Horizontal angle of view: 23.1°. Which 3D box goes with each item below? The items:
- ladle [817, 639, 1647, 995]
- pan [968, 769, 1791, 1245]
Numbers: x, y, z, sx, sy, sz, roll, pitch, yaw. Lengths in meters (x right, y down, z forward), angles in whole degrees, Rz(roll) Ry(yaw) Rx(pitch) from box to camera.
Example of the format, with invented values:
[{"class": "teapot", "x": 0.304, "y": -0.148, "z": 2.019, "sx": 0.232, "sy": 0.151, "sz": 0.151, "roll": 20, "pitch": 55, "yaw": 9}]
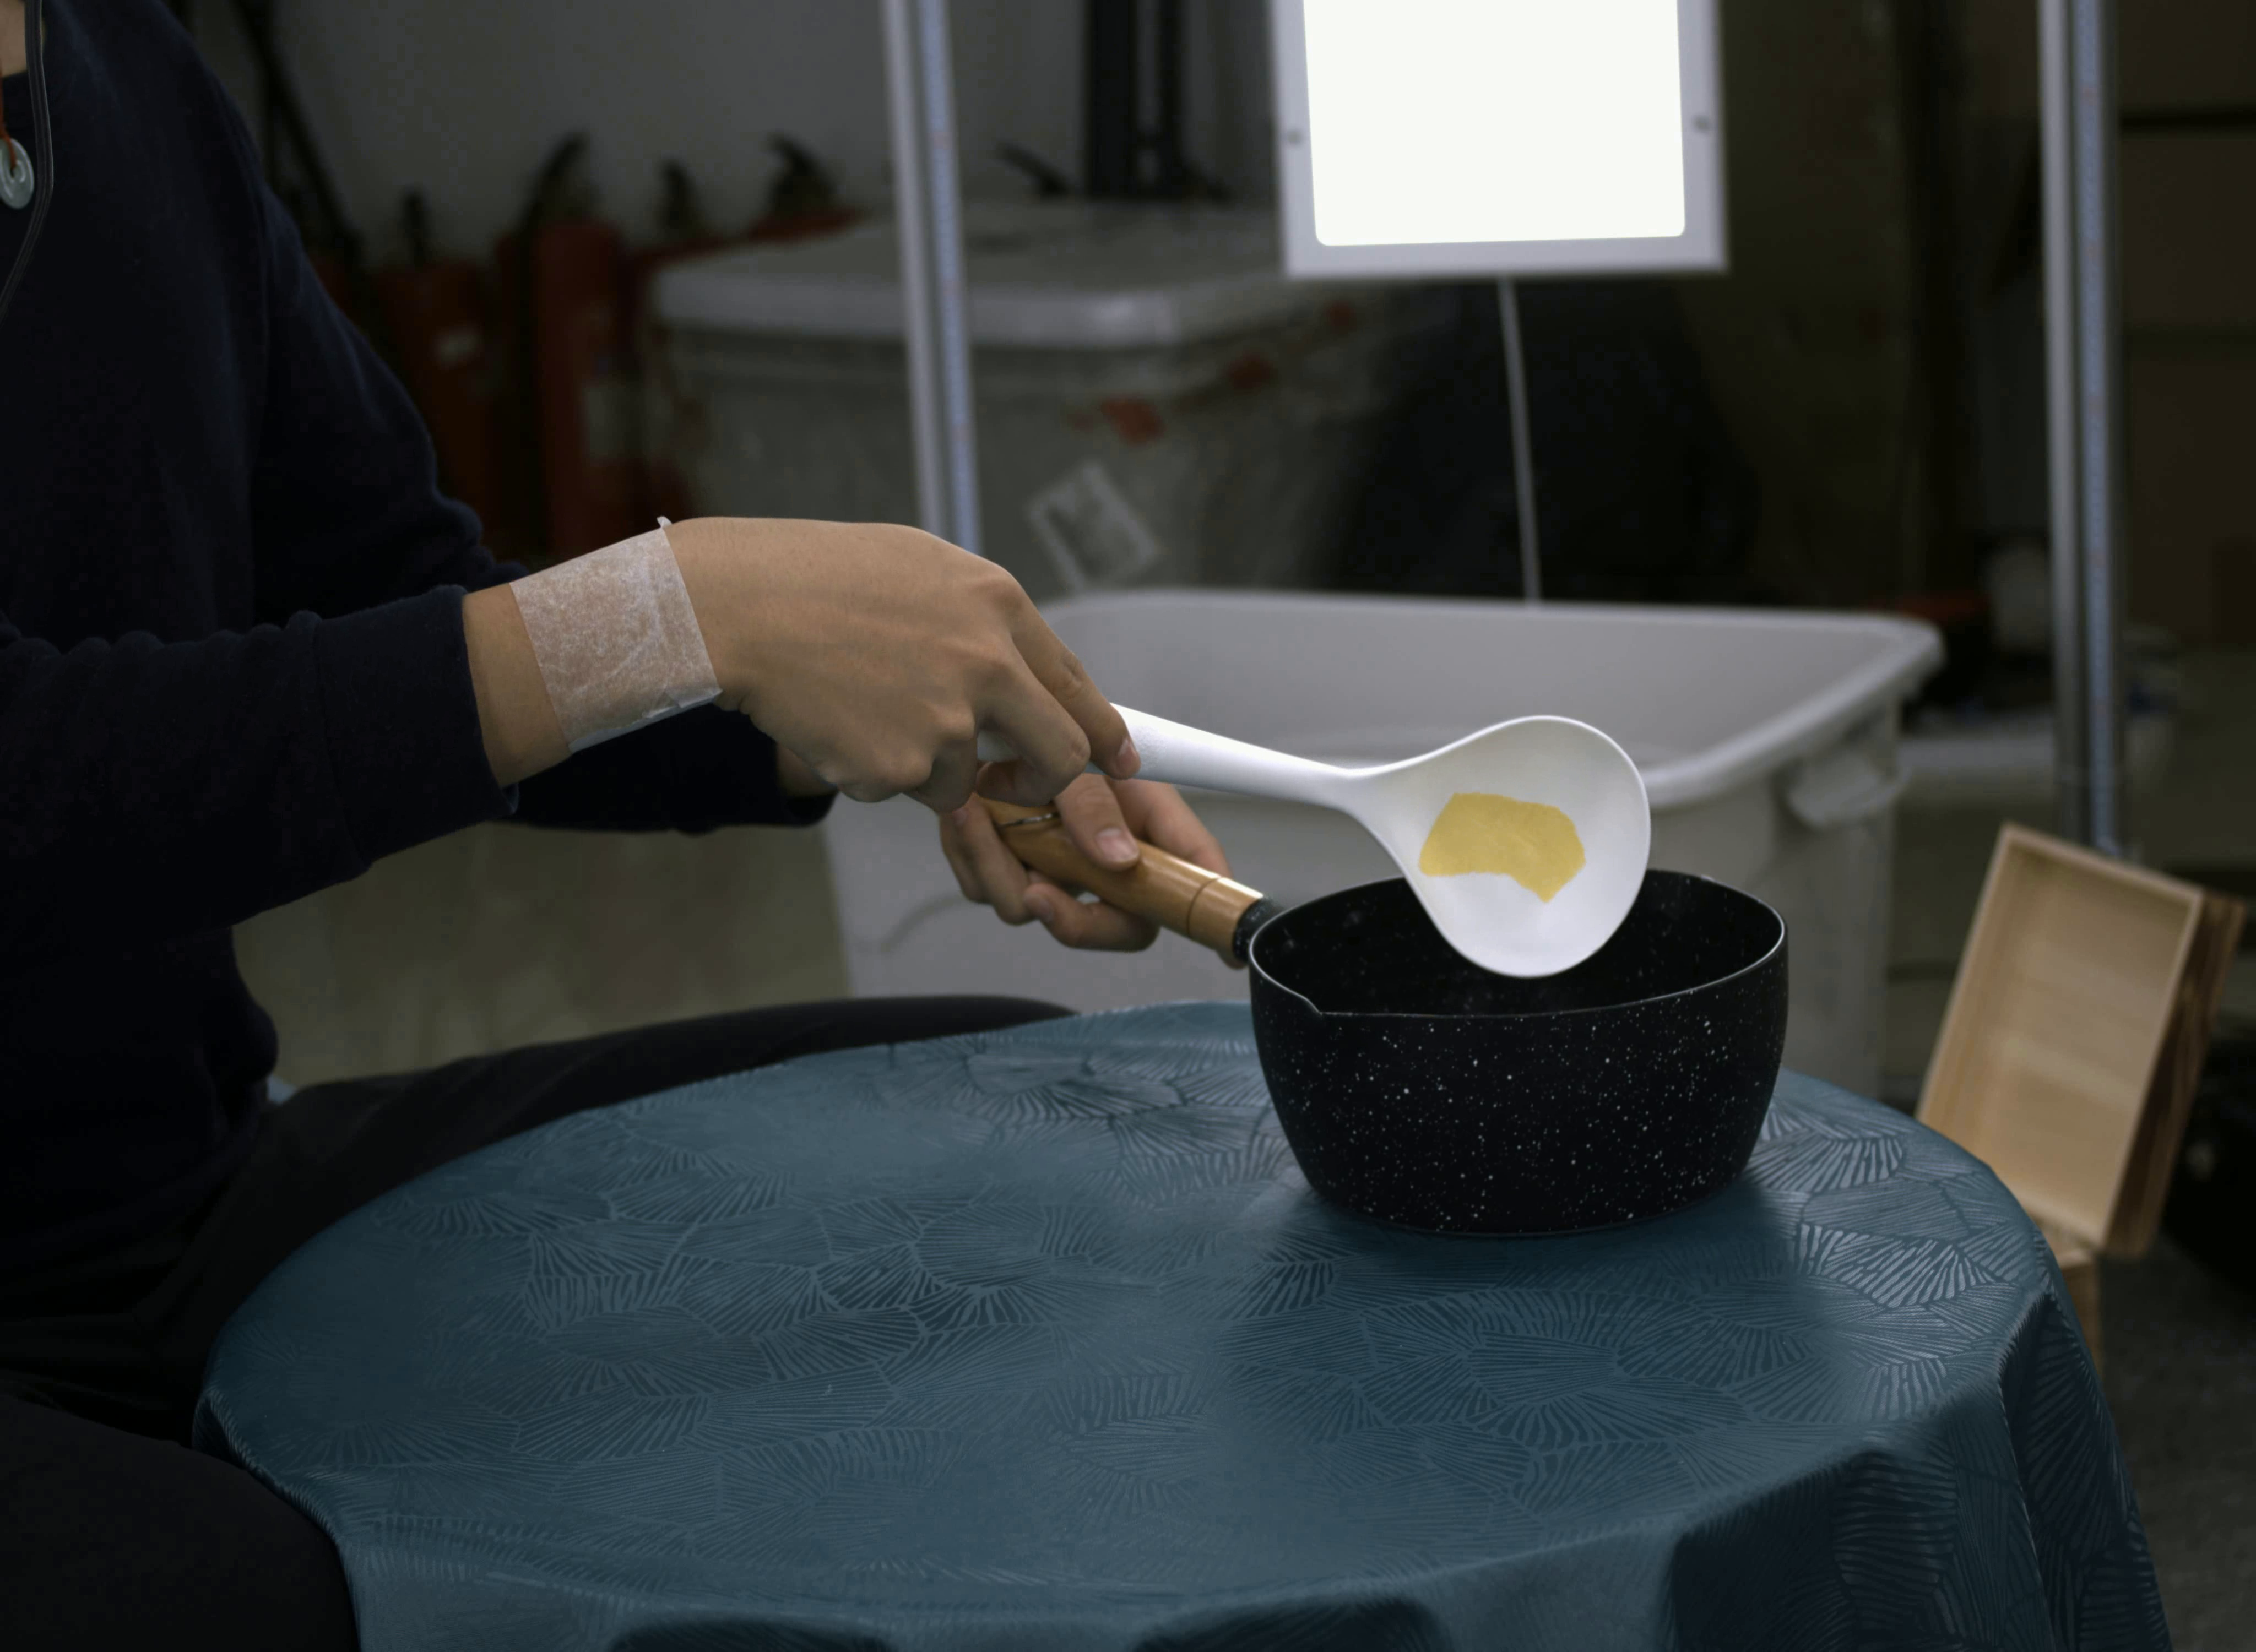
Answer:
[{"class": "ladle", "x": 0.036, "y": -0.009, "z": 1.799, "sx": 0.286, "sy": 0.091, "sz": 0.071, "roll": 13, "pitch": 15, "yaw": -32}, {"class": "pan", "x": 0.074, "y": 0.056, "z": 1.920, "sx": 0.350, "sy": 0.108, "sz": 0.202, "roll": 11, "pitch": 22, "yaw": 41}]
